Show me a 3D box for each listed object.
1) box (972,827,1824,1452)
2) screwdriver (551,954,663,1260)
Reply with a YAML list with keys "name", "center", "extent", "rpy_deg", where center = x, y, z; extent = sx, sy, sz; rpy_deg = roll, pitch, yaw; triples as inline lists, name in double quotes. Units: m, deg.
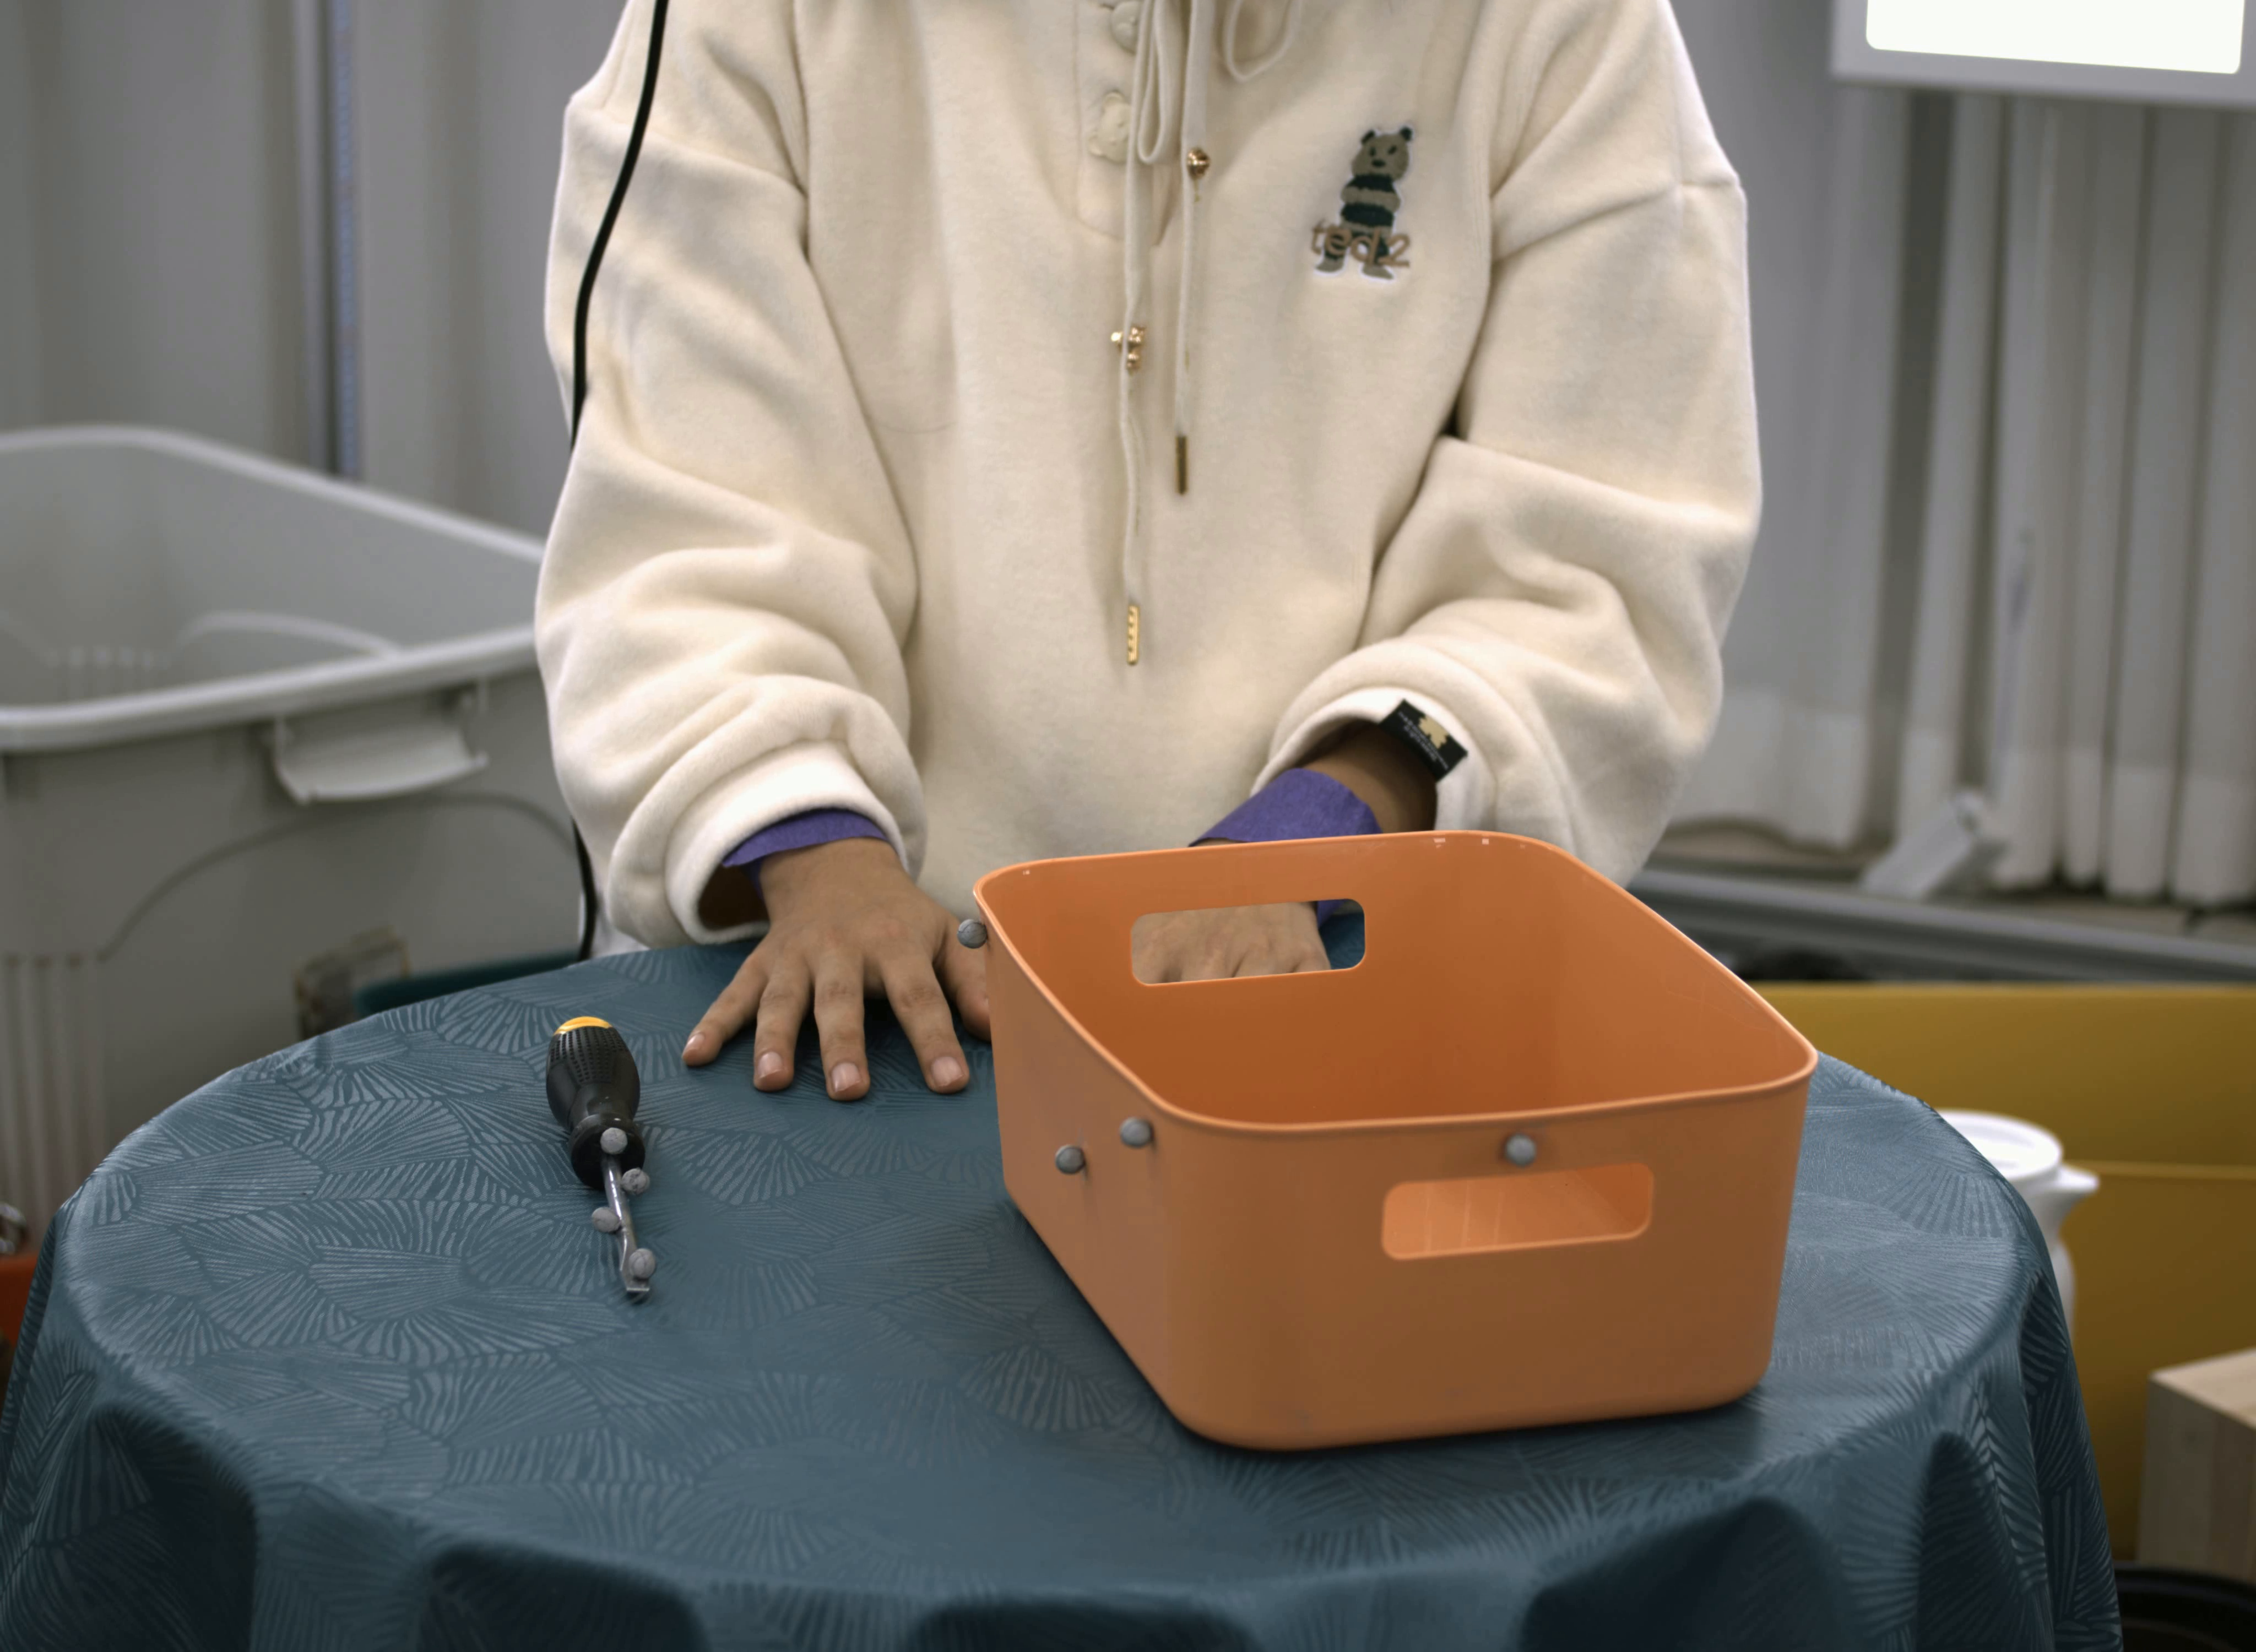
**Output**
- name: "box"
  center: [0.073, 0.086, 1.521]
  extent: [0.200, 0.103, 0.270]
  rpy_deg: [-5, 17, -15]
- name: "screwdriver"
  center: [-0.153, 0.088, 1.617]
  extent: [0.031, 0.032, 0.195]
  rpy_deg: [-3, 25, -14]
